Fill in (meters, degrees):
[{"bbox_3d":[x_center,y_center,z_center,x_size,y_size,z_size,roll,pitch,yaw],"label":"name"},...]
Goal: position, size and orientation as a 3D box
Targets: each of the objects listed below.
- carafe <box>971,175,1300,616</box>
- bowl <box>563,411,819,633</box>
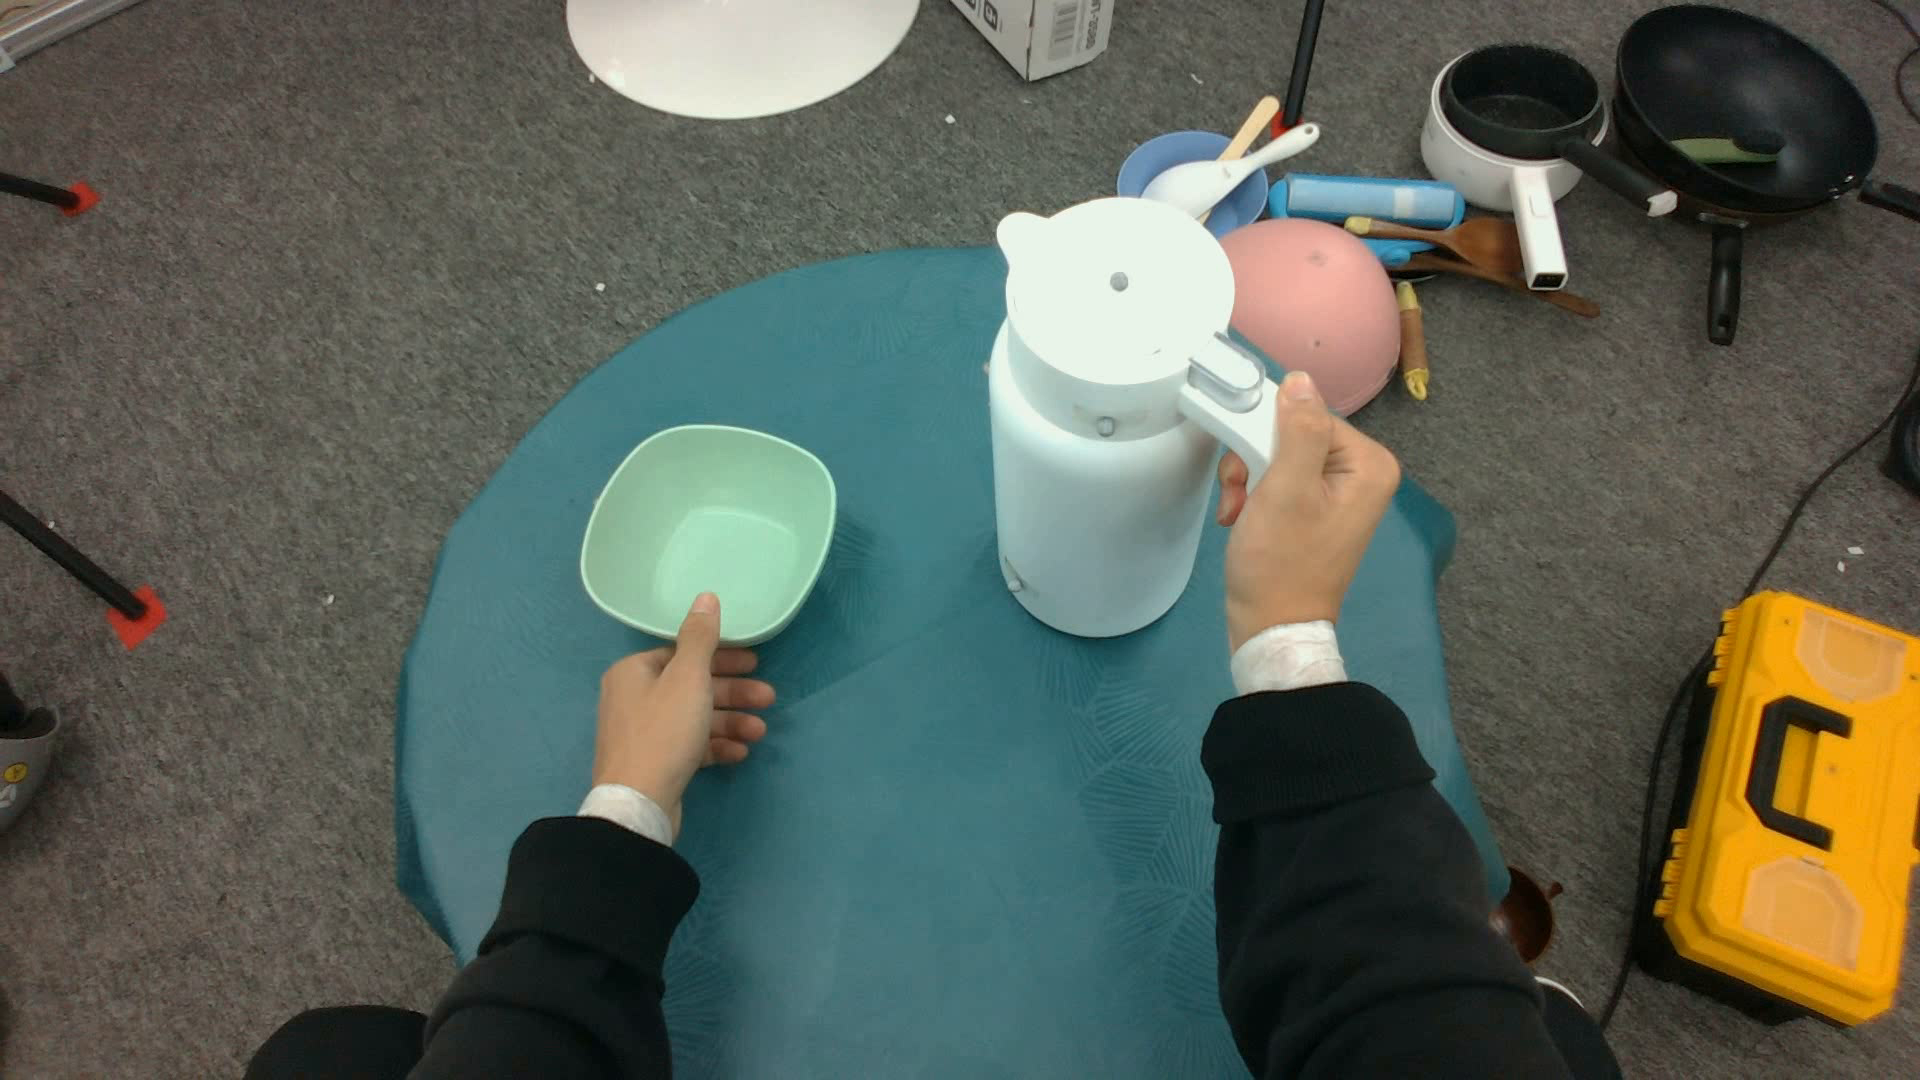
[{"bbox_3d":[0.081,-0.053,0.704,0.173,0.268,0.124,37,69,18],"label":"carafe"},{"bbox_3d":[-0.151,-0.002,0.804,0.151,0.058,0.152,-1,61,2],"label":"bowl"}]
